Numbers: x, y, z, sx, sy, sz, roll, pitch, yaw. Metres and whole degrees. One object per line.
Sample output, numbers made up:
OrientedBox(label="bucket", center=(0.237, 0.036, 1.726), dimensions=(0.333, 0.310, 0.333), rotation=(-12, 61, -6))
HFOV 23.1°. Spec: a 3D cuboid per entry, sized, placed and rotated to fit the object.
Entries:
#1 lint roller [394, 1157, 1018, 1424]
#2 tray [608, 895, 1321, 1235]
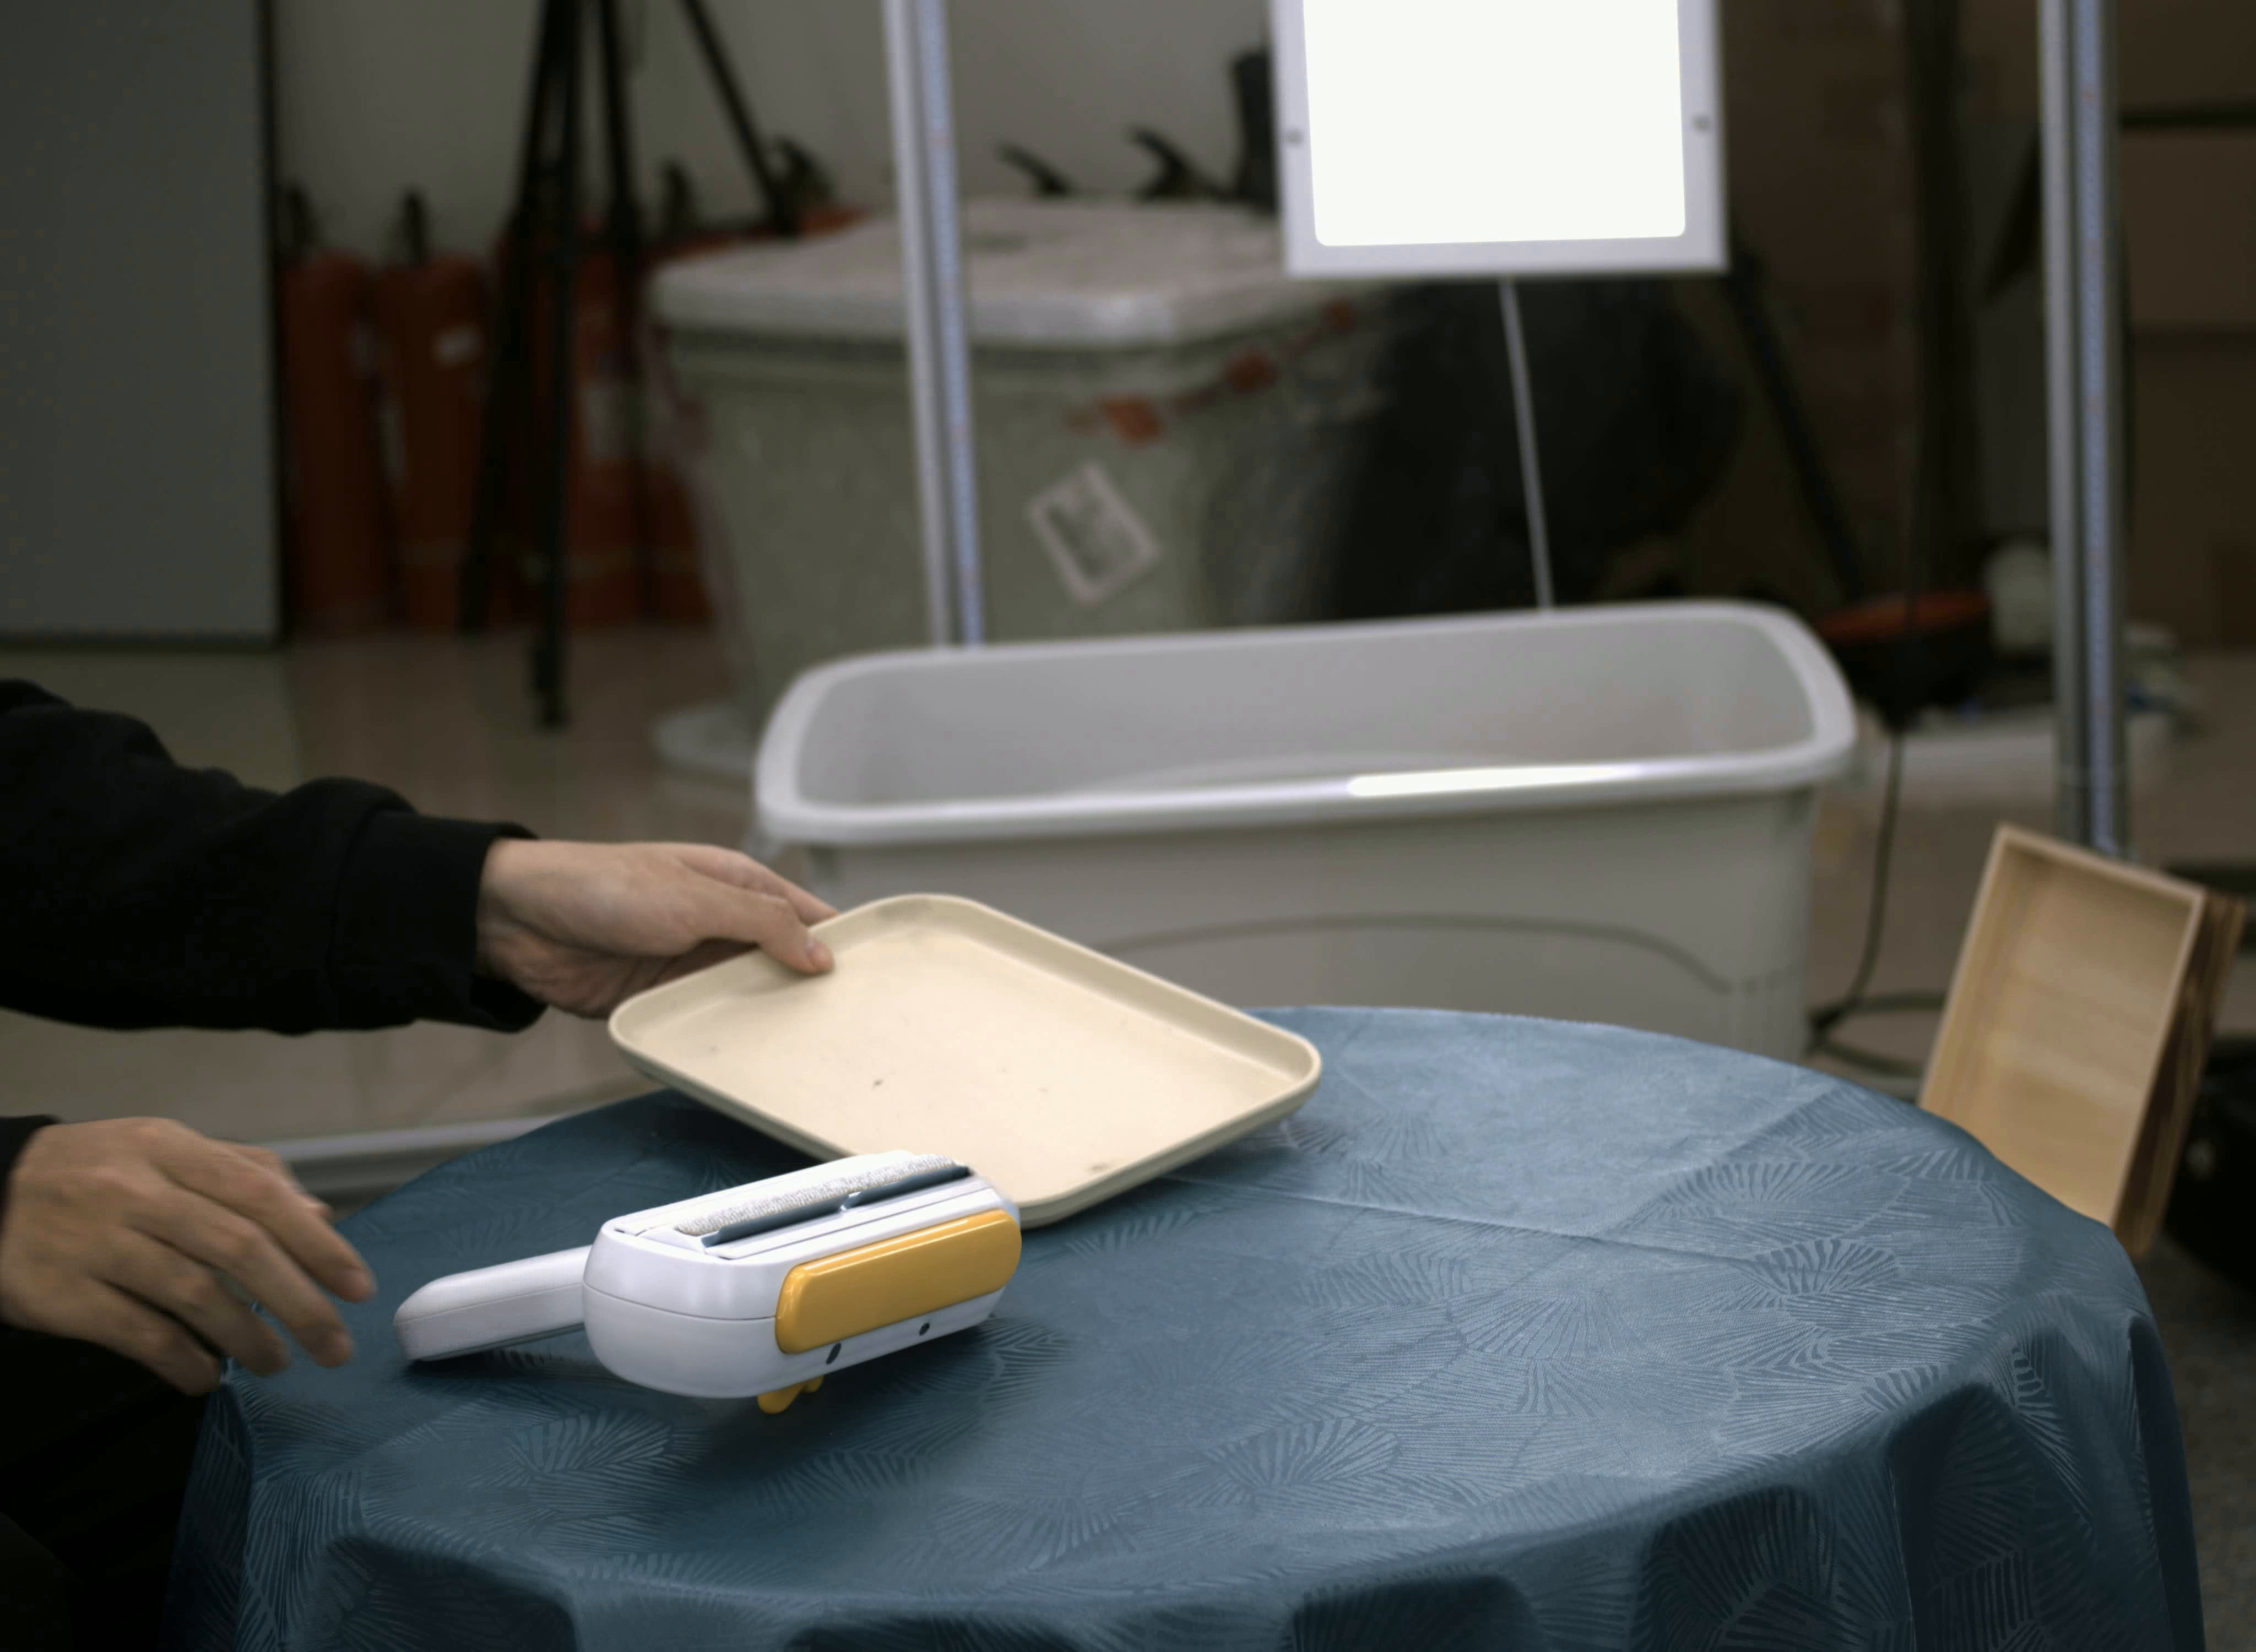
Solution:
OrientedBox(label="lint roller", center=(-0.152, 0.144, 1.738), dimensions=(0.196, 0.074, 0.188), rotation=(2, 10, 33))
OrientedBox(label="tray", center=(-0.060, 0.084, 1.974), dimensions=(0.167, 0.017, 0.244), rotation=(-24, 29, -35))
